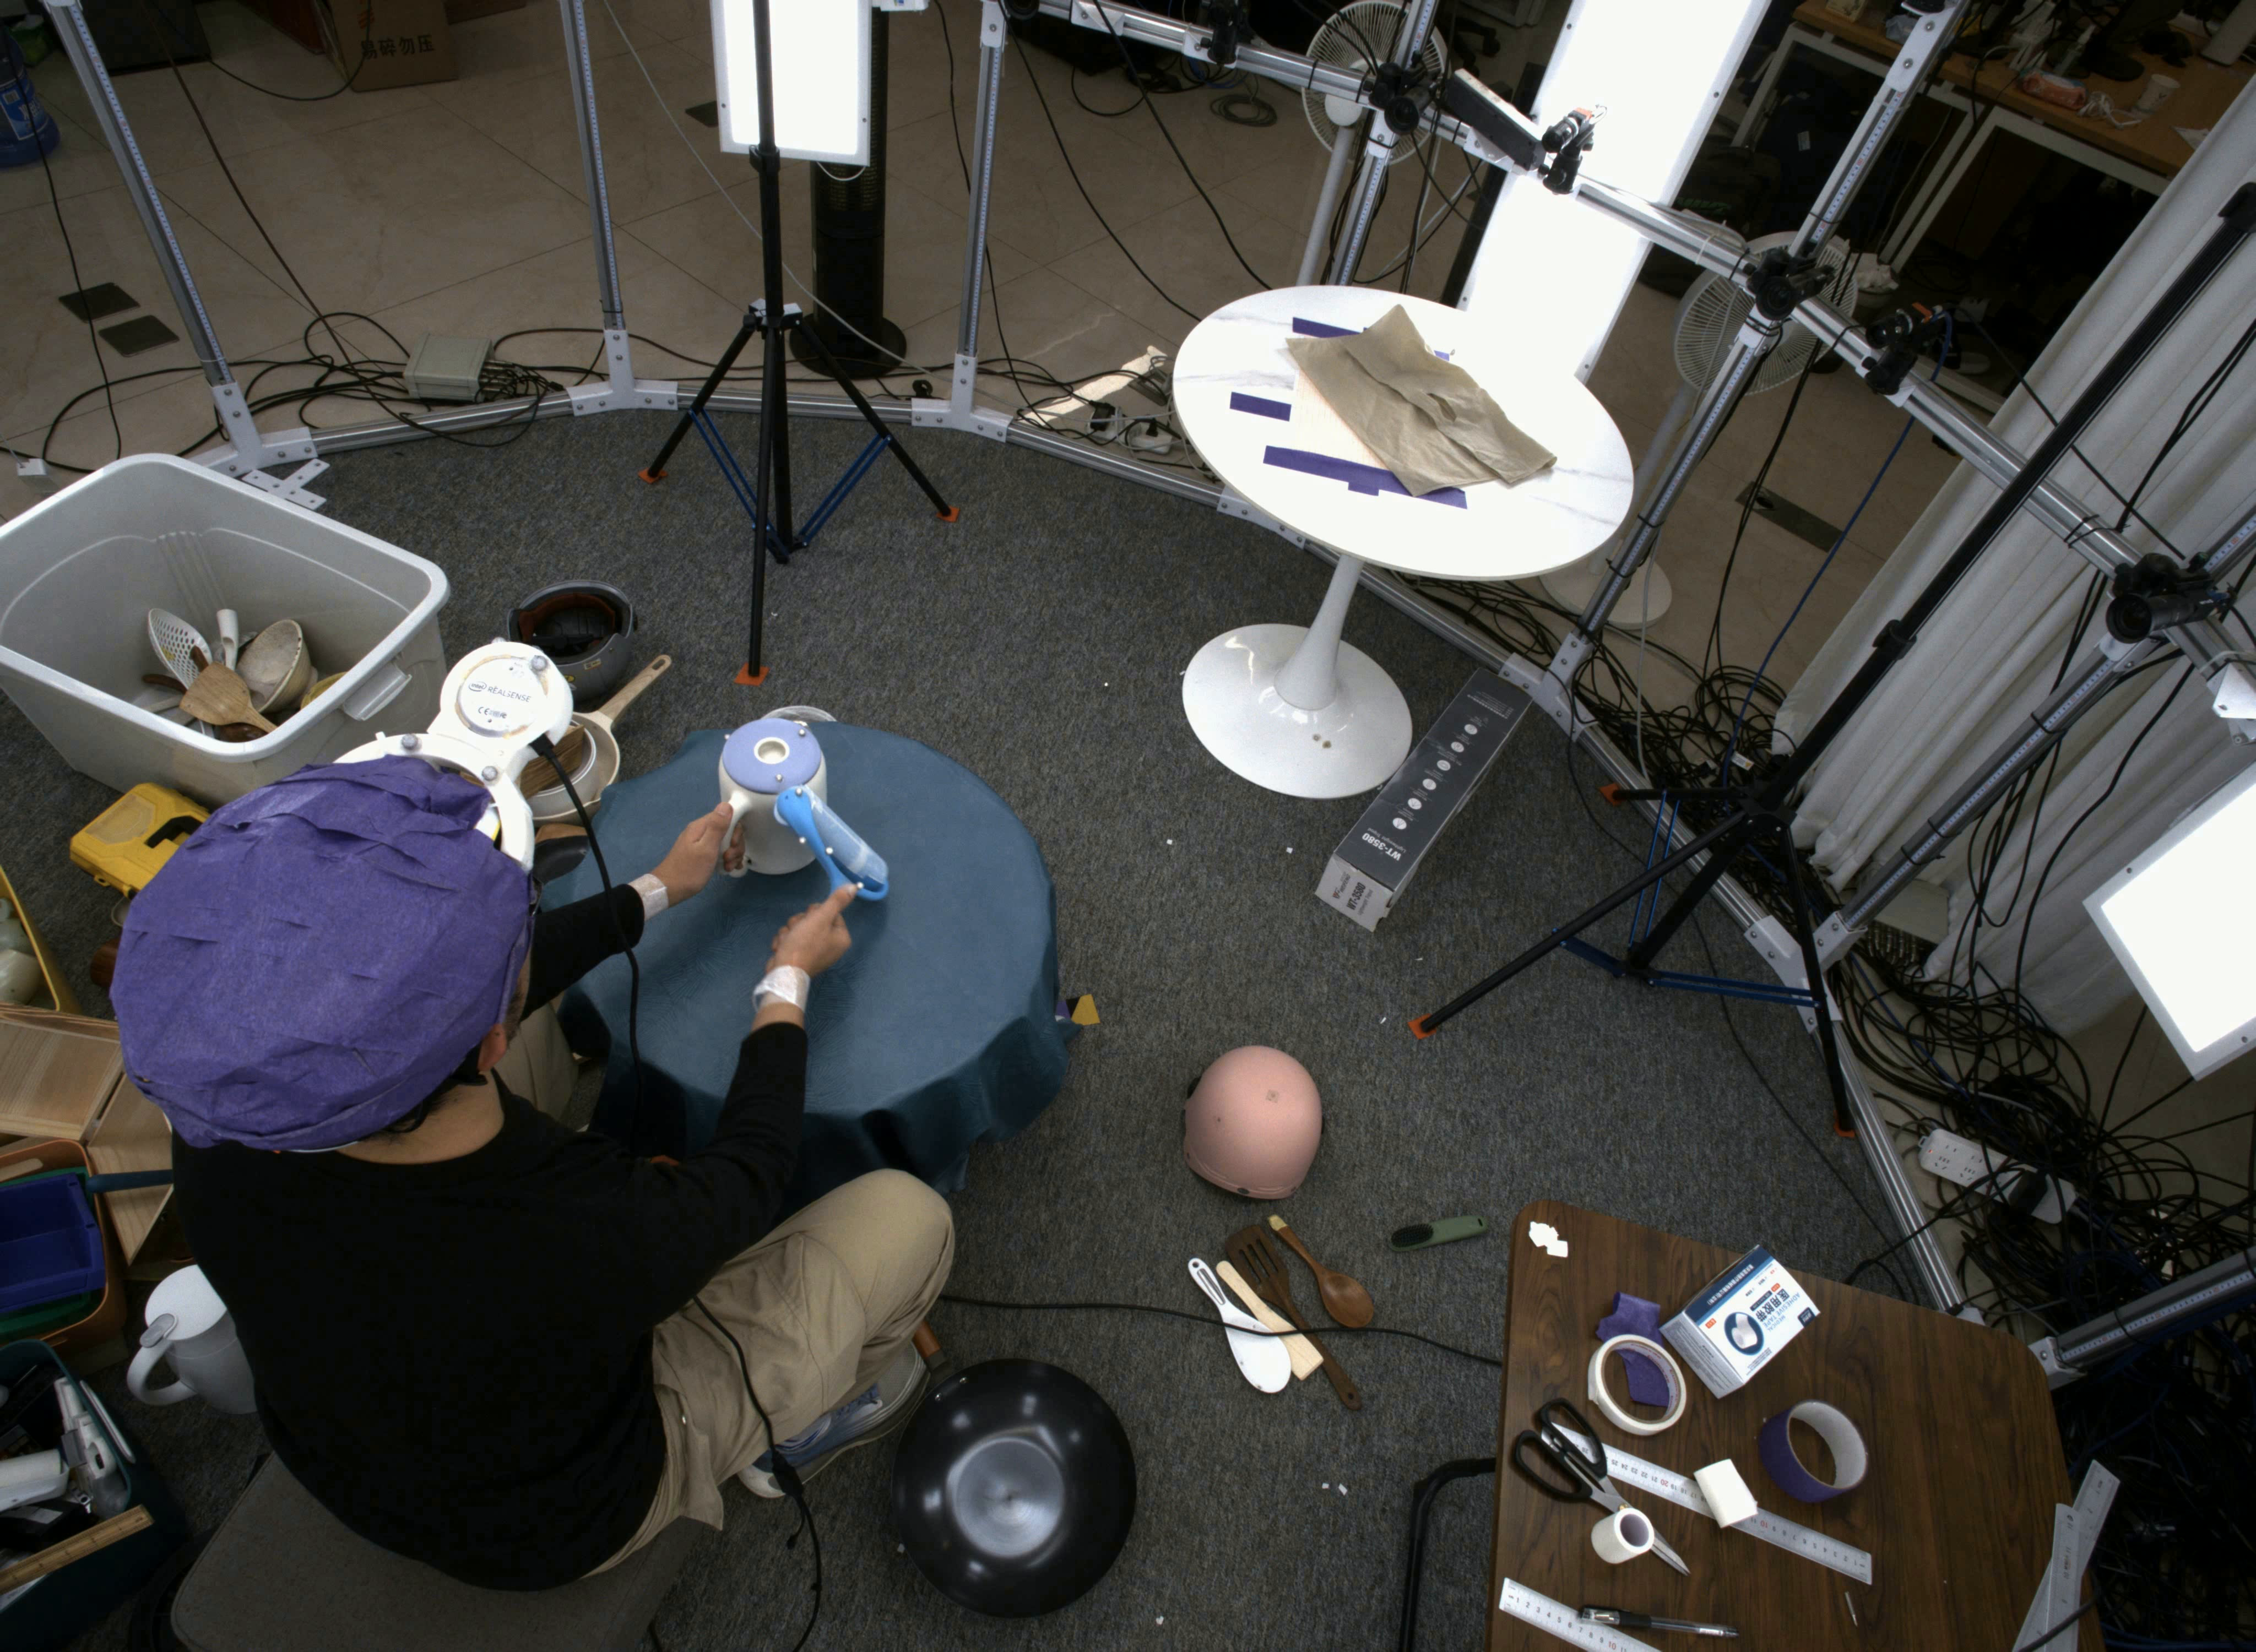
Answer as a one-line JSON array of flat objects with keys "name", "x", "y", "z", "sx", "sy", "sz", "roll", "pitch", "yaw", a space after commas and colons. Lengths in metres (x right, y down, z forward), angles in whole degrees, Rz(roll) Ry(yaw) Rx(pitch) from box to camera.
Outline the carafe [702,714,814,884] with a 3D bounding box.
[{"name": "carafe", "x": -0.473, "y": -0.021, "z": 1.610, "sx": 0.130, "sy": 0.186, "sz": 0.190, "roll": 23, "pitch": 54, "yaw": 7}]

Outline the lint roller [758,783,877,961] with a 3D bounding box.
[{"name": "lint roller", "x": -0.376, "y": 0.072, "z": 1.541, "sx": 0.066, "sy": 0.236, "sz": 0.179, "roll": -2, "pitch": 66, "yaw": 17}]
